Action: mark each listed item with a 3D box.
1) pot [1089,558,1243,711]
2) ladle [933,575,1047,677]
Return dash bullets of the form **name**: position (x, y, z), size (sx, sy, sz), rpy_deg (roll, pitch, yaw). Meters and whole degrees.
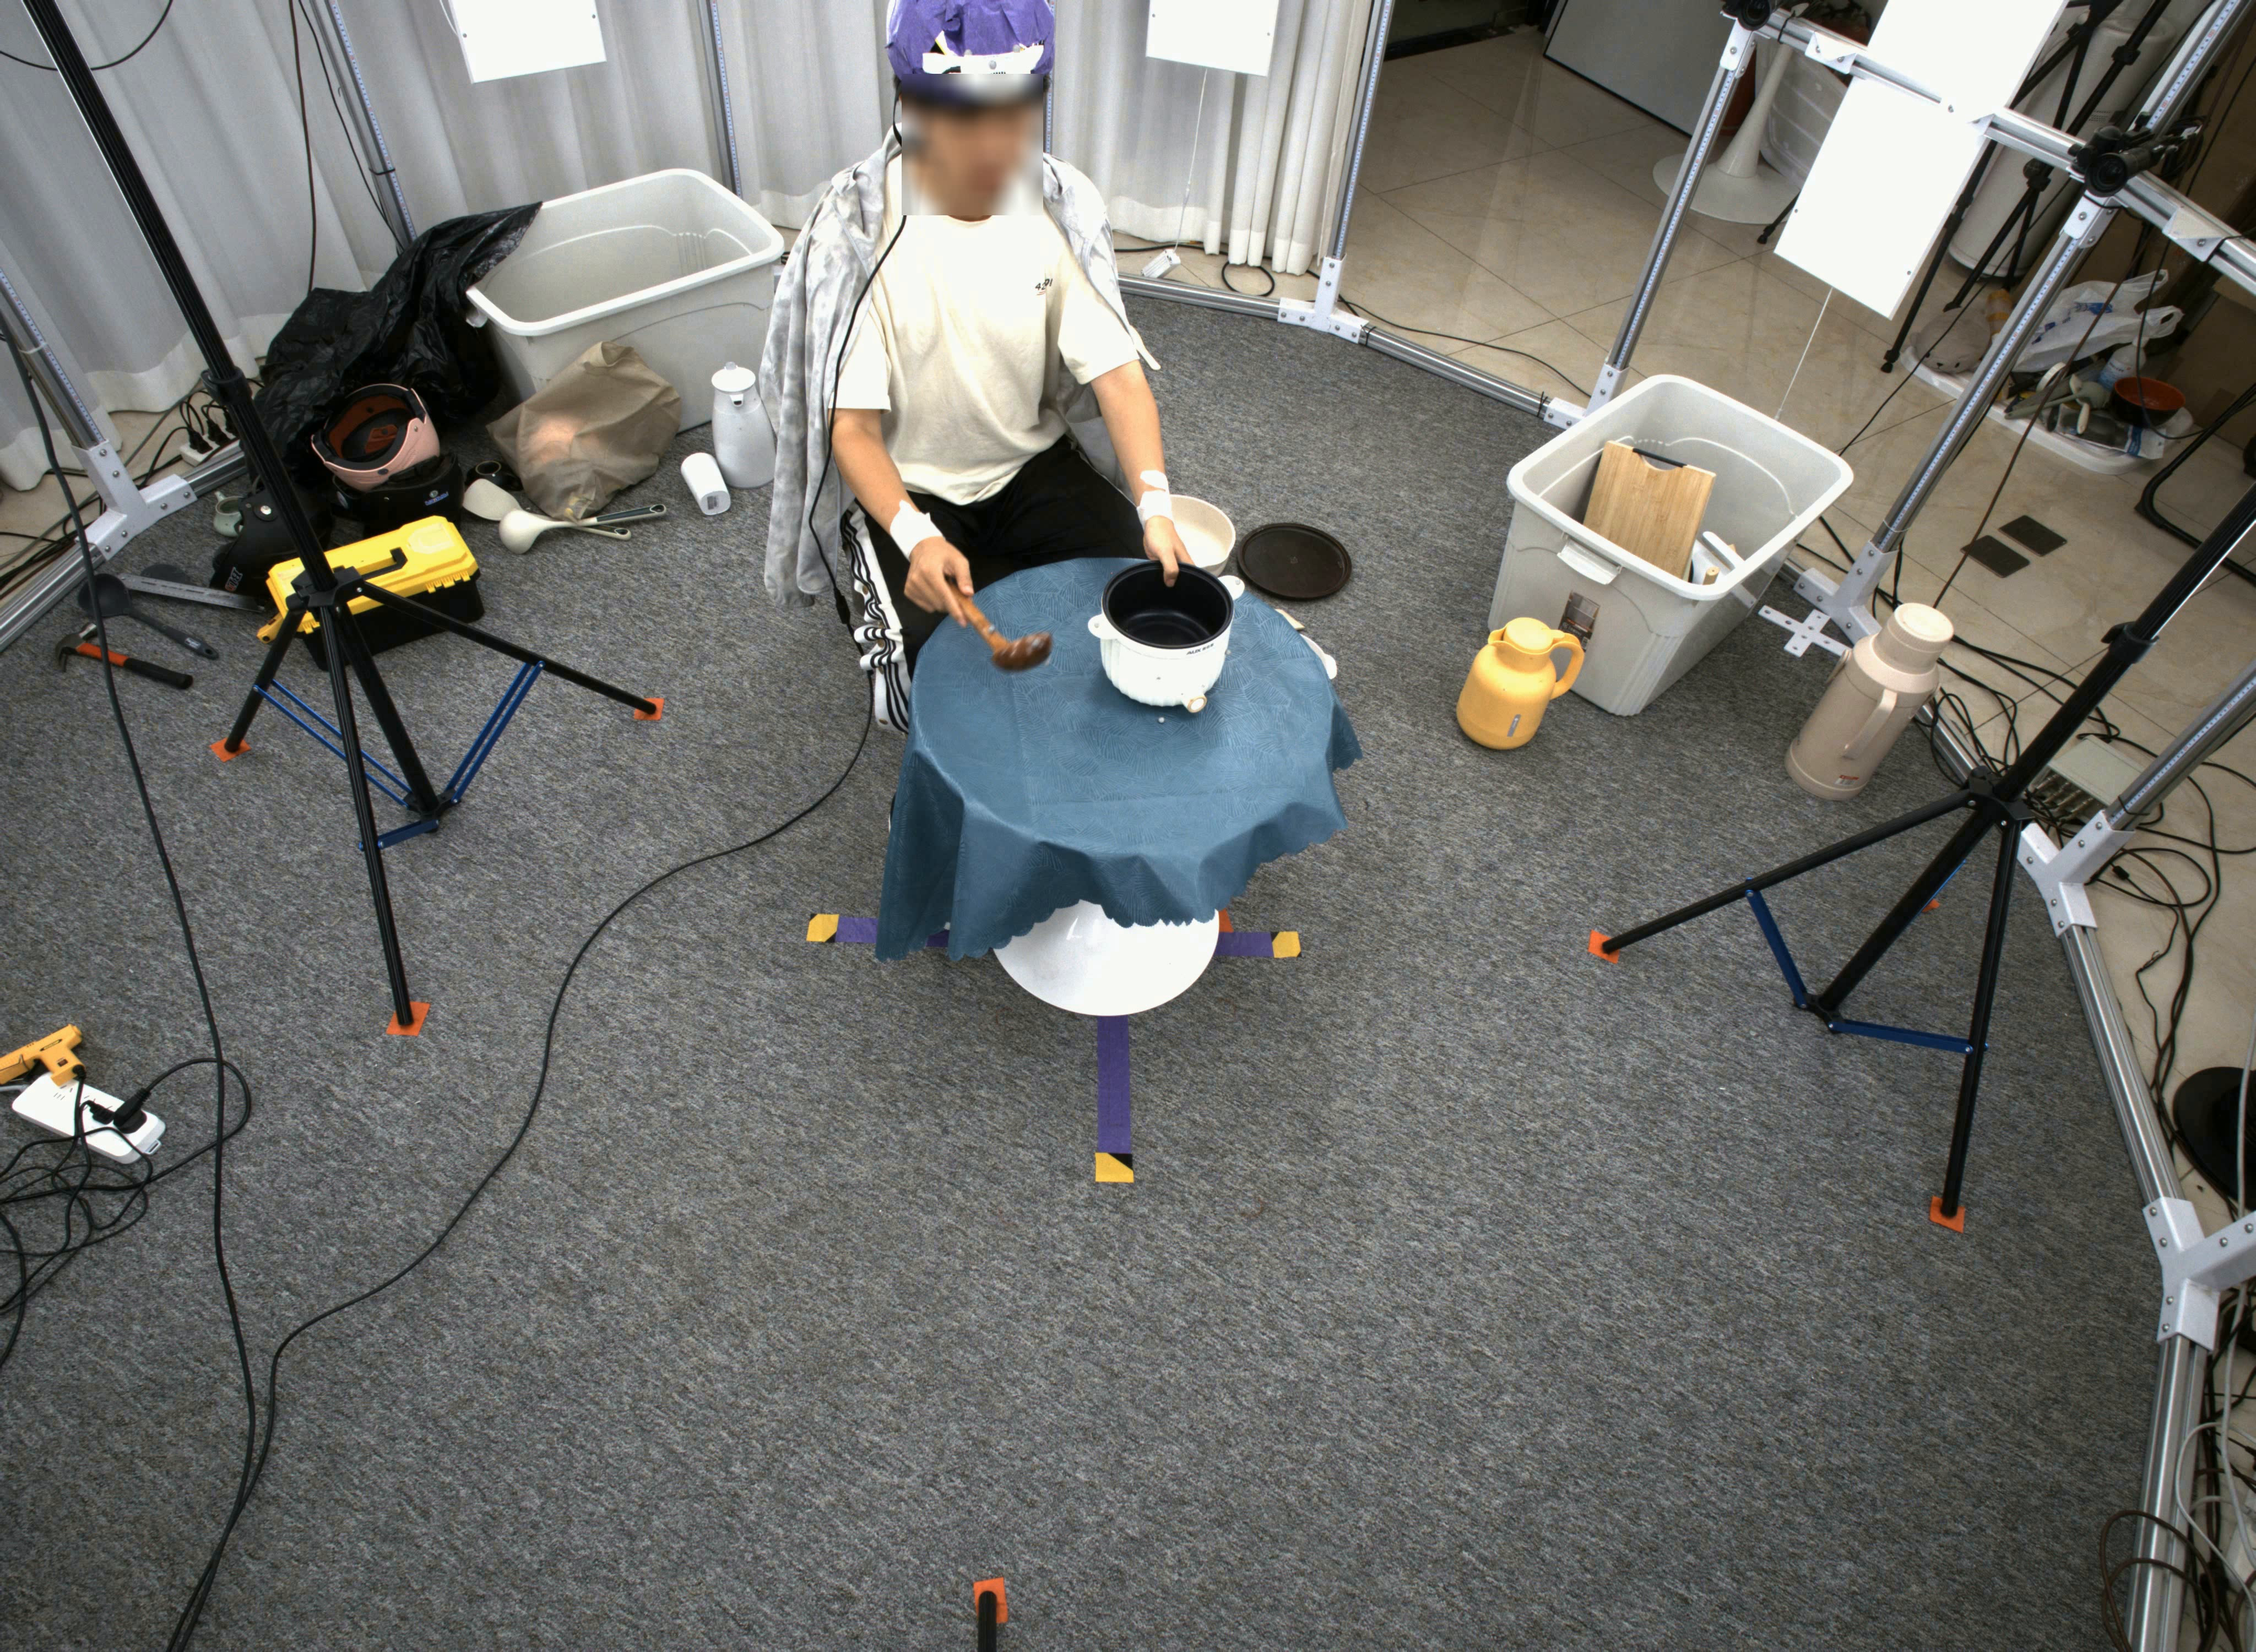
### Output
- **pot**: position (0.055, -0.261, 1.802), size (0.241, 0.139, 0.195), rpy_deg (-22, 50, -20)
- **ladle**: position (-0.192, -0.279, 1.676), size (0.082, 0.075, 0.280), rpy_deg (-14, 46, -27)
